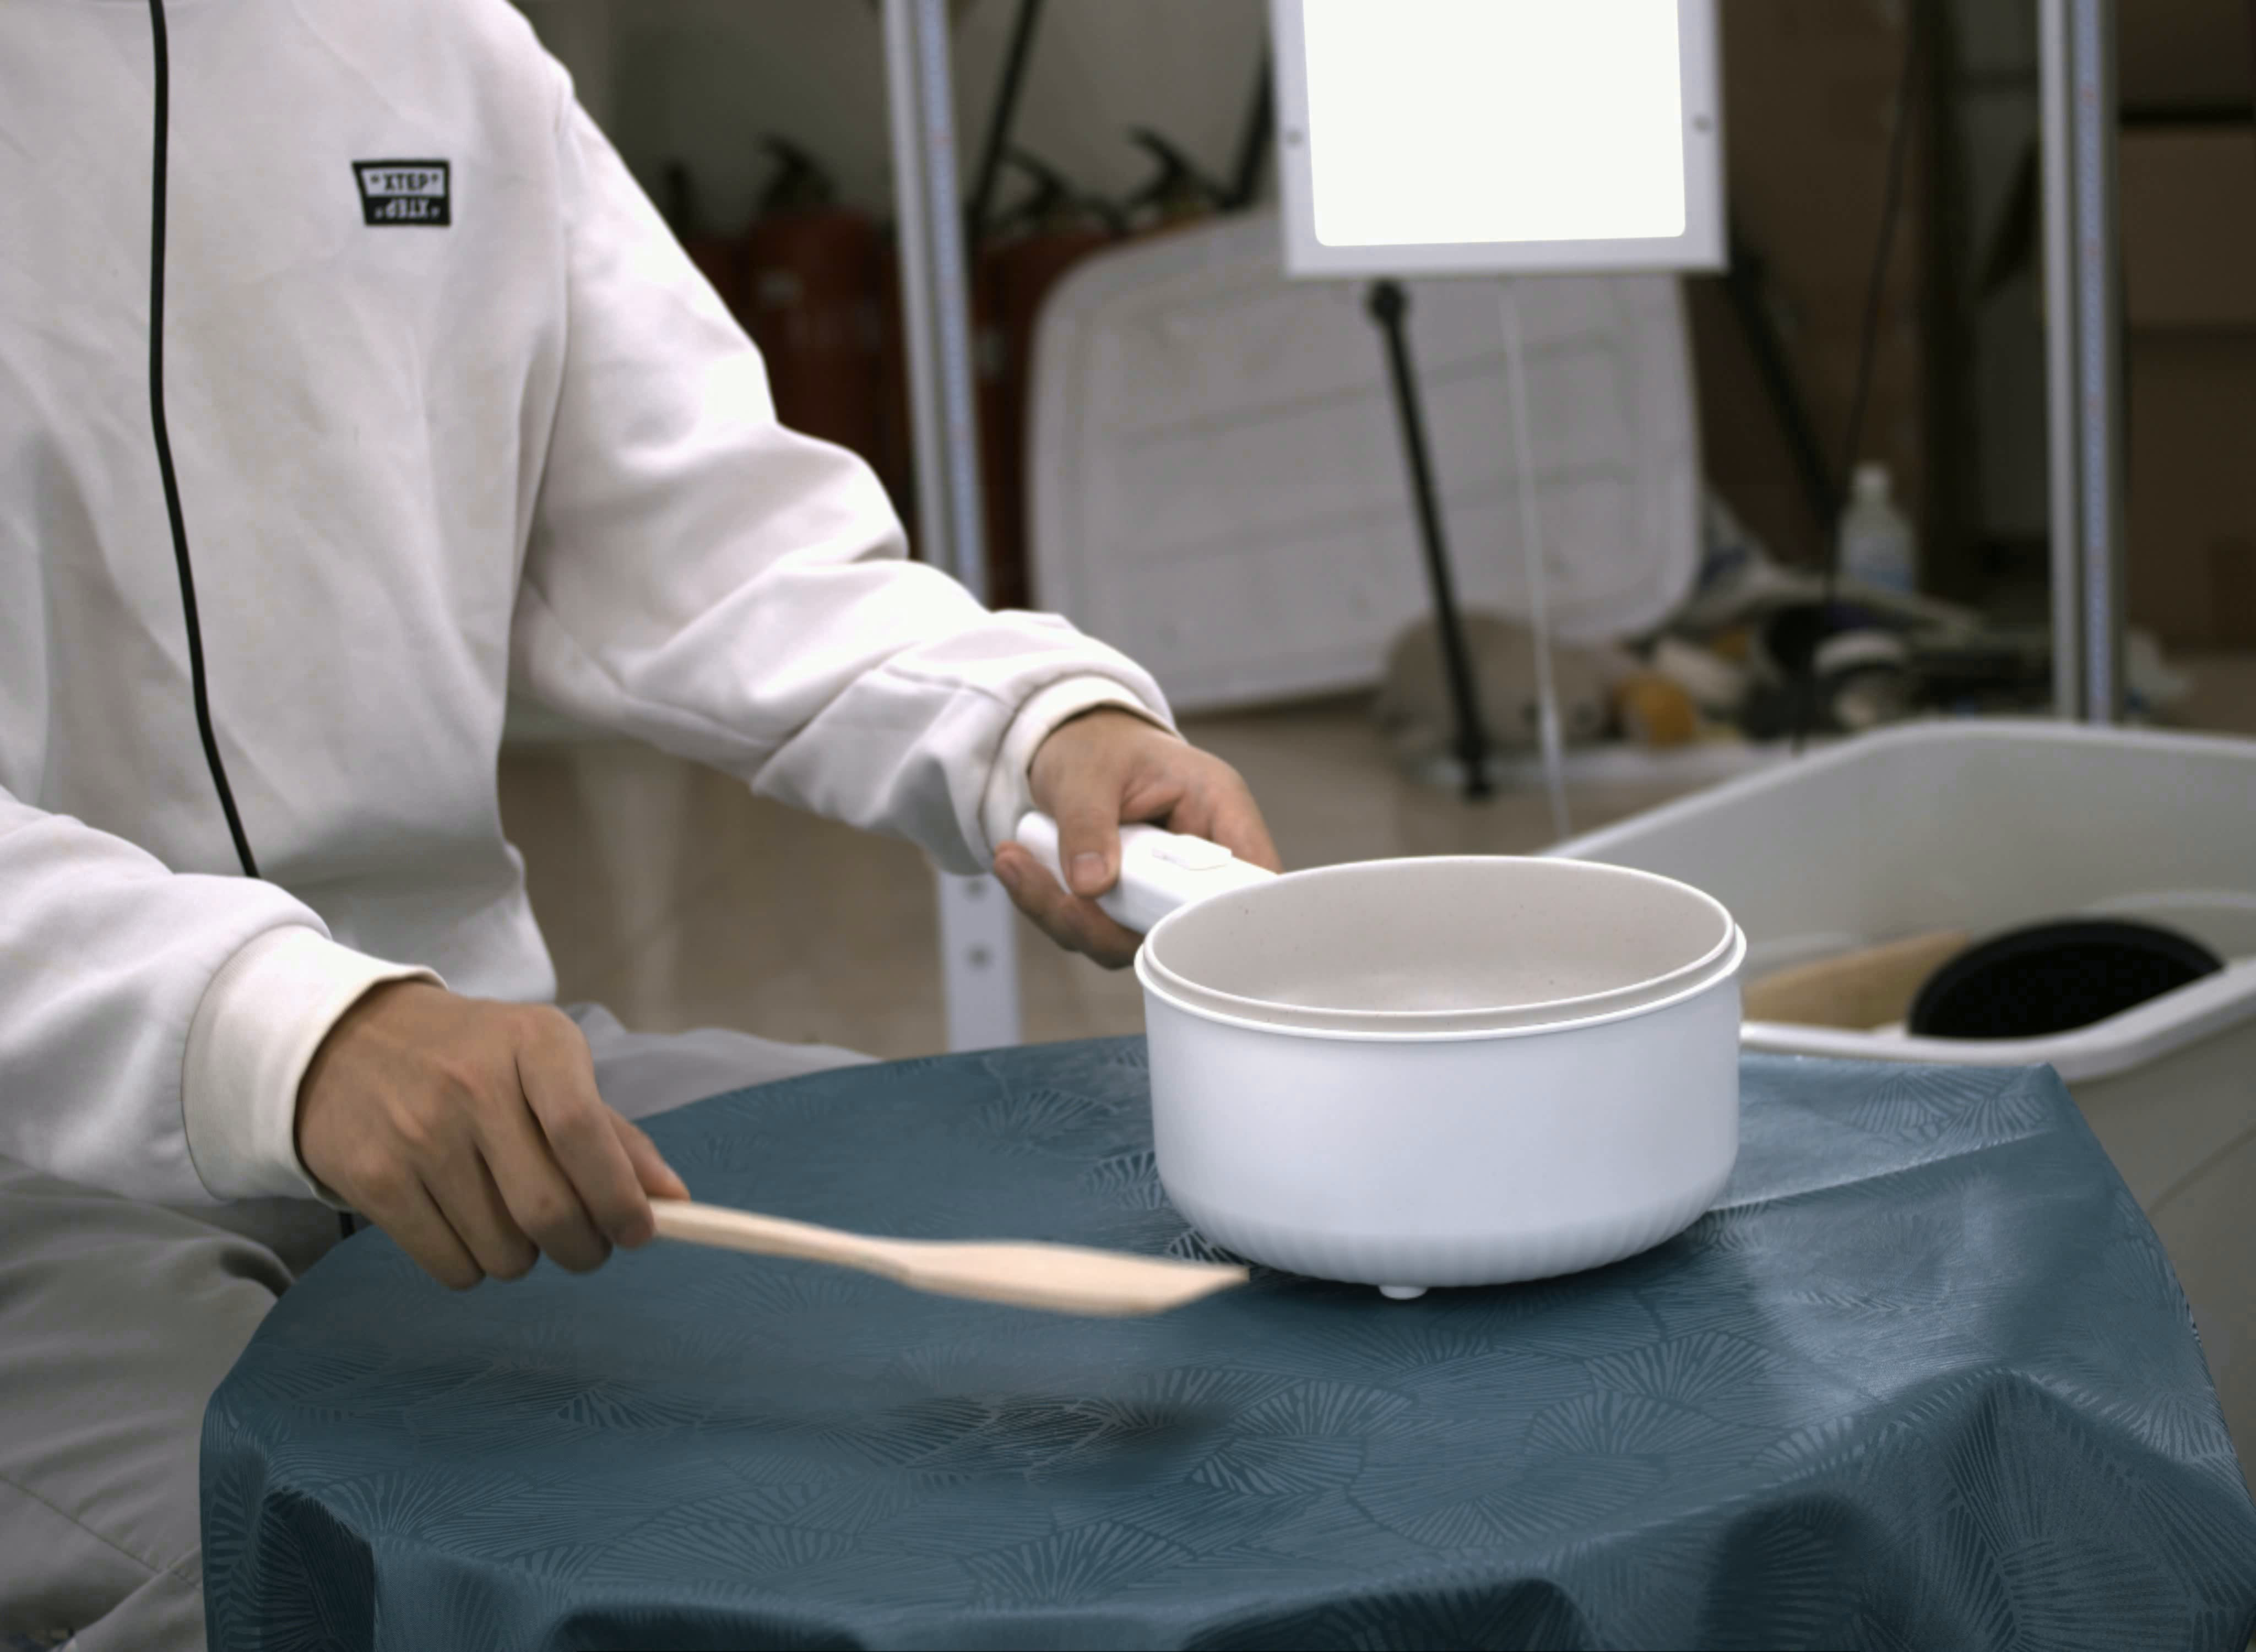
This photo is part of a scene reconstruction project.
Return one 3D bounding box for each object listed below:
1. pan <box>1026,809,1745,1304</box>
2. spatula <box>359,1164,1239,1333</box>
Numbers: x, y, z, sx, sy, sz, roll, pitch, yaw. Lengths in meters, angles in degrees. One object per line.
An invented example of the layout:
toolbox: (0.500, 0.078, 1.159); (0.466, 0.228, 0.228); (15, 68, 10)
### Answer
pan: (0.067, 0.072, 1.882); (0.197, 0.102, 0.361); (-12, 15, -27)
spatula: (-0.111, 0.130, 1.711); (0.297, 0.011, 0.071); (7, 8, 25)
